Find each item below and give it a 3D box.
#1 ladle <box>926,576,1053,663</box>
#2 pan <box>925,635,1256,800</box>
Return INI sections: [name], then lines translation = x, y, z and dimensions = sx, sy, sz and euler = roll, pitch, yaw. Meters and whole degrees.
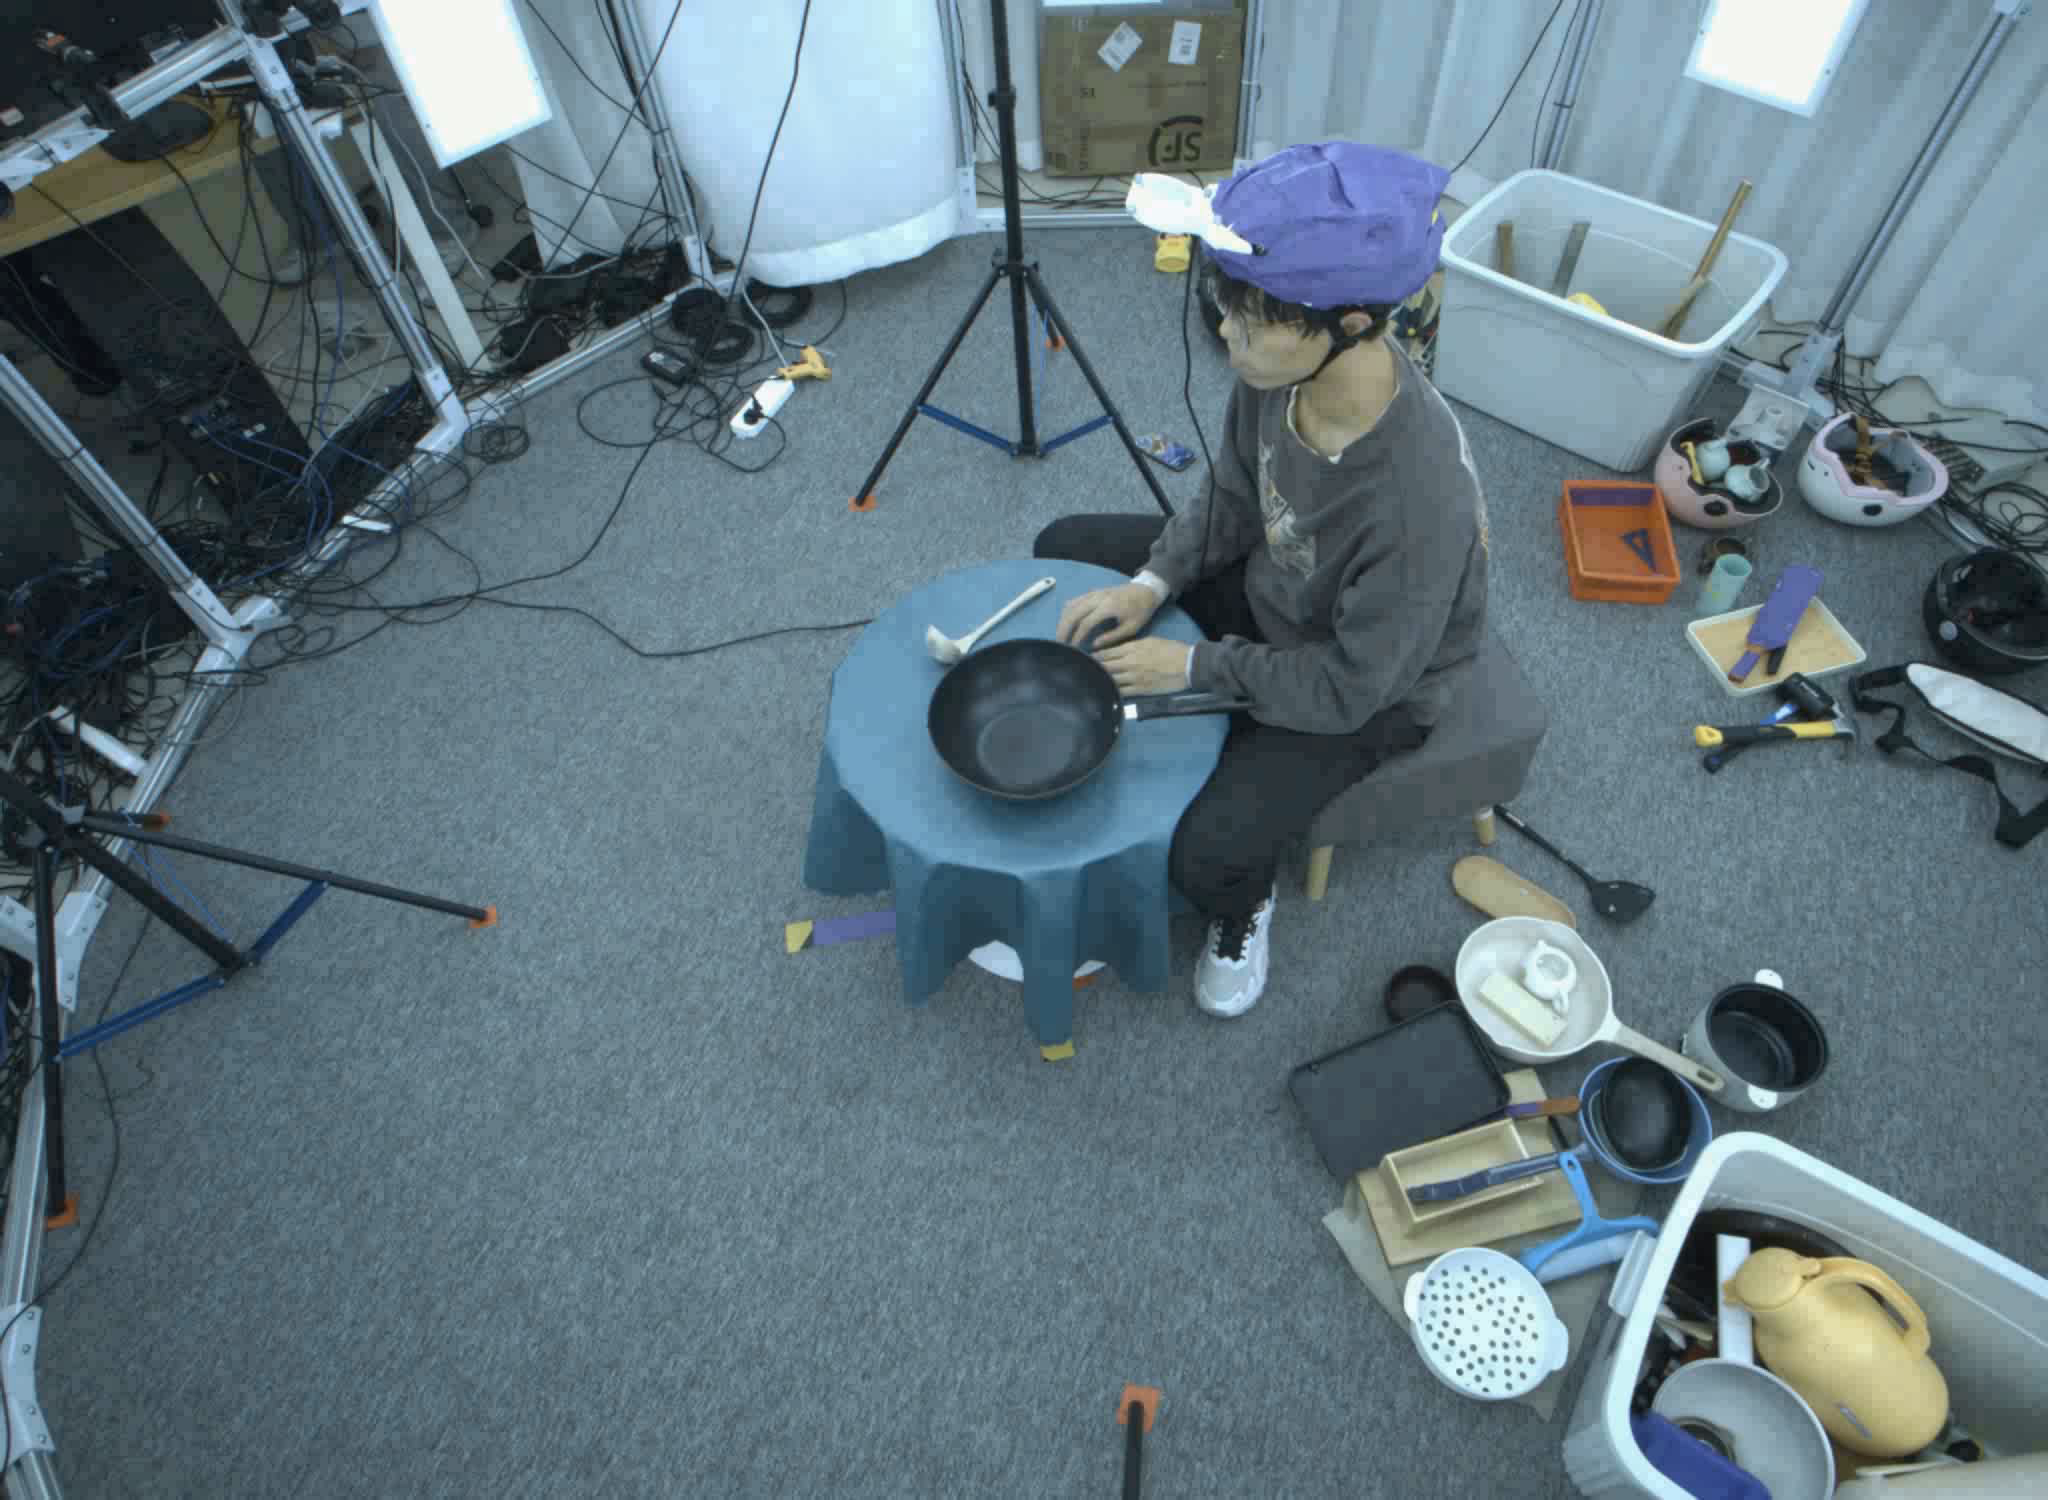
[ladle]
translation = -0.048, -0.226, 1.904
dimensions = 0.070, 0.074, 0.256
euler = 34, 62, 30
[pan]
translation = 0.094, -0.037, 1.757
dimensions = 0.464, 0.088, 0.285
euler = -2, 54, -1
